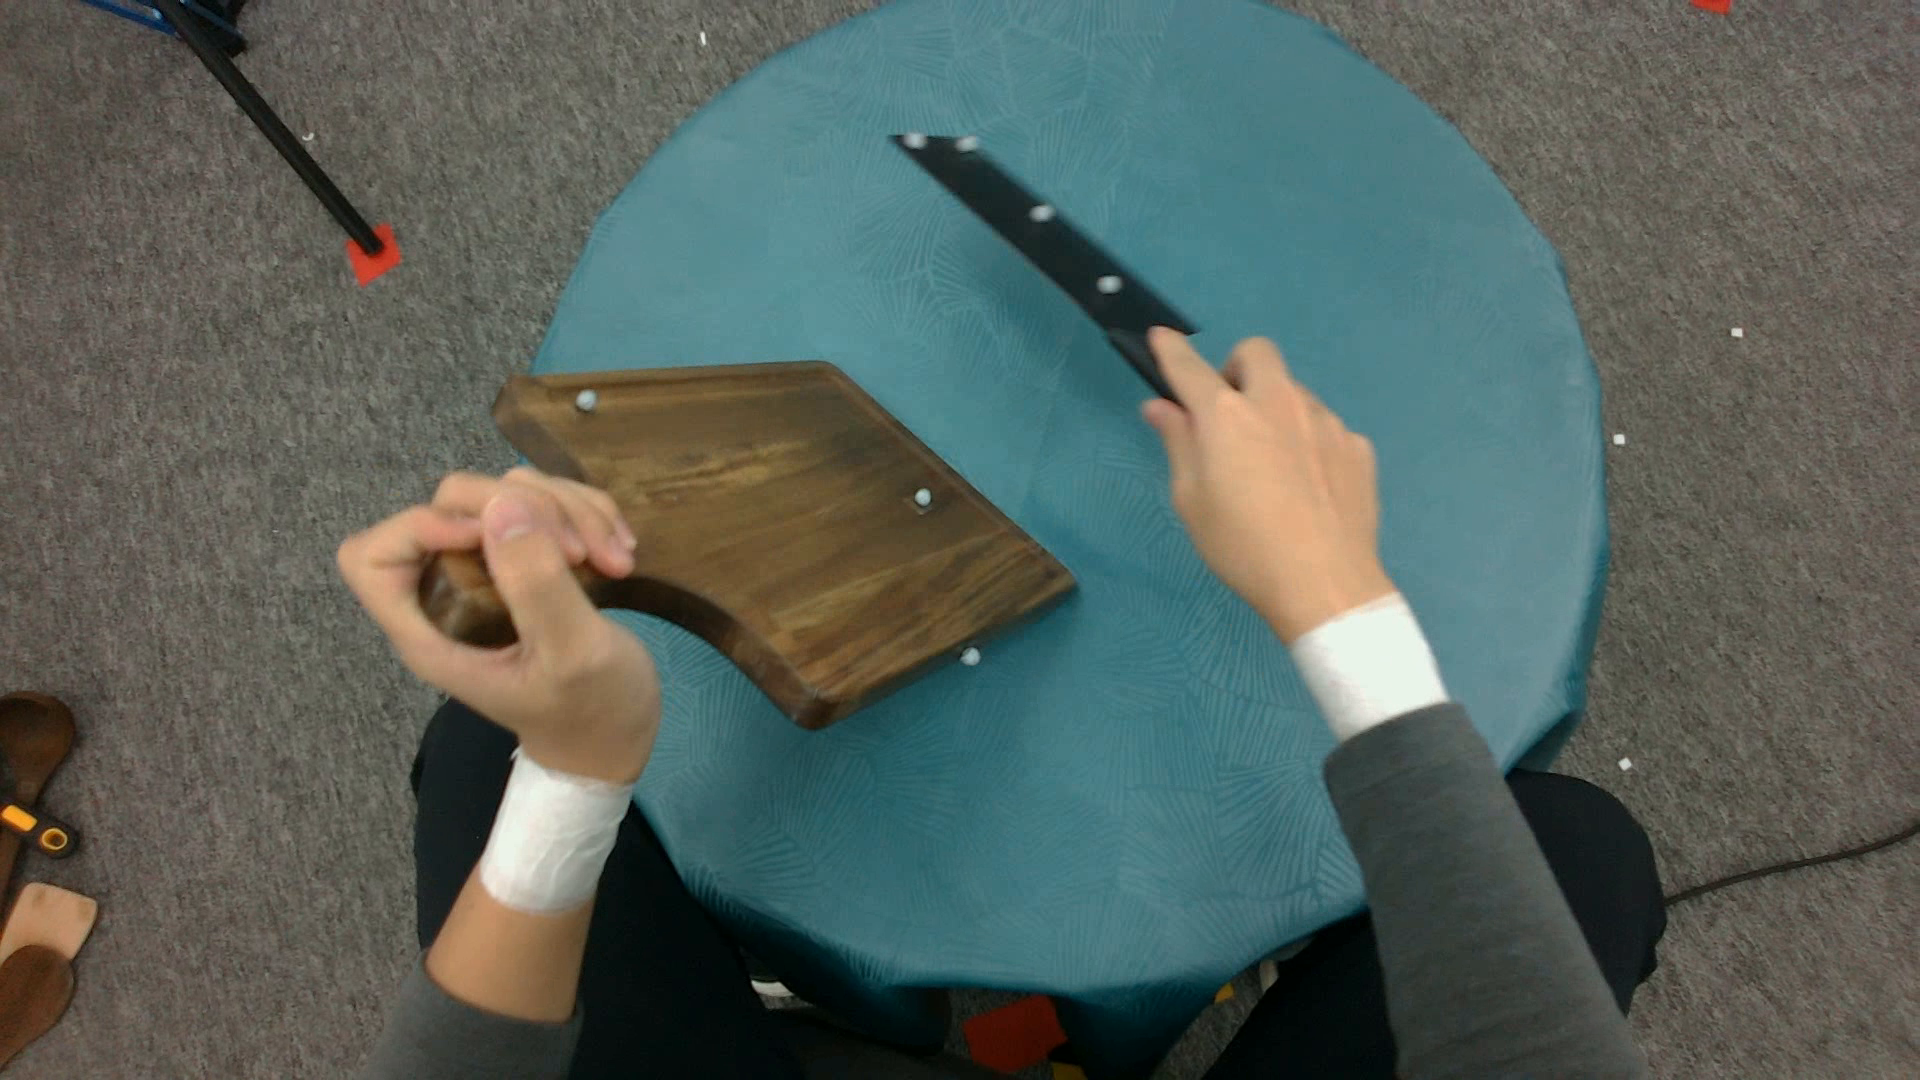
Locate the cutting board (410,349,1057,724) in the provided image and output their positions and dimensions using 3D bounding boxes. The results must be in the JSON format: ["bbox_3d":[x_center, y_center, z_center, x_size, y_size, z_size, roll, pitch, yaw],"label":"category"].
[{"bbox_3d":[-0.096,-0.010,0.602,0.201,0.353,0.023,40,115,14],"label":"cutting board"}]

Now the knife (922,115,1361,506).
[{"bbox_3d":[0.090,-0.126,0.693,0.081,0.021,0.303,-19,58,-34],"label":"knife"}]
